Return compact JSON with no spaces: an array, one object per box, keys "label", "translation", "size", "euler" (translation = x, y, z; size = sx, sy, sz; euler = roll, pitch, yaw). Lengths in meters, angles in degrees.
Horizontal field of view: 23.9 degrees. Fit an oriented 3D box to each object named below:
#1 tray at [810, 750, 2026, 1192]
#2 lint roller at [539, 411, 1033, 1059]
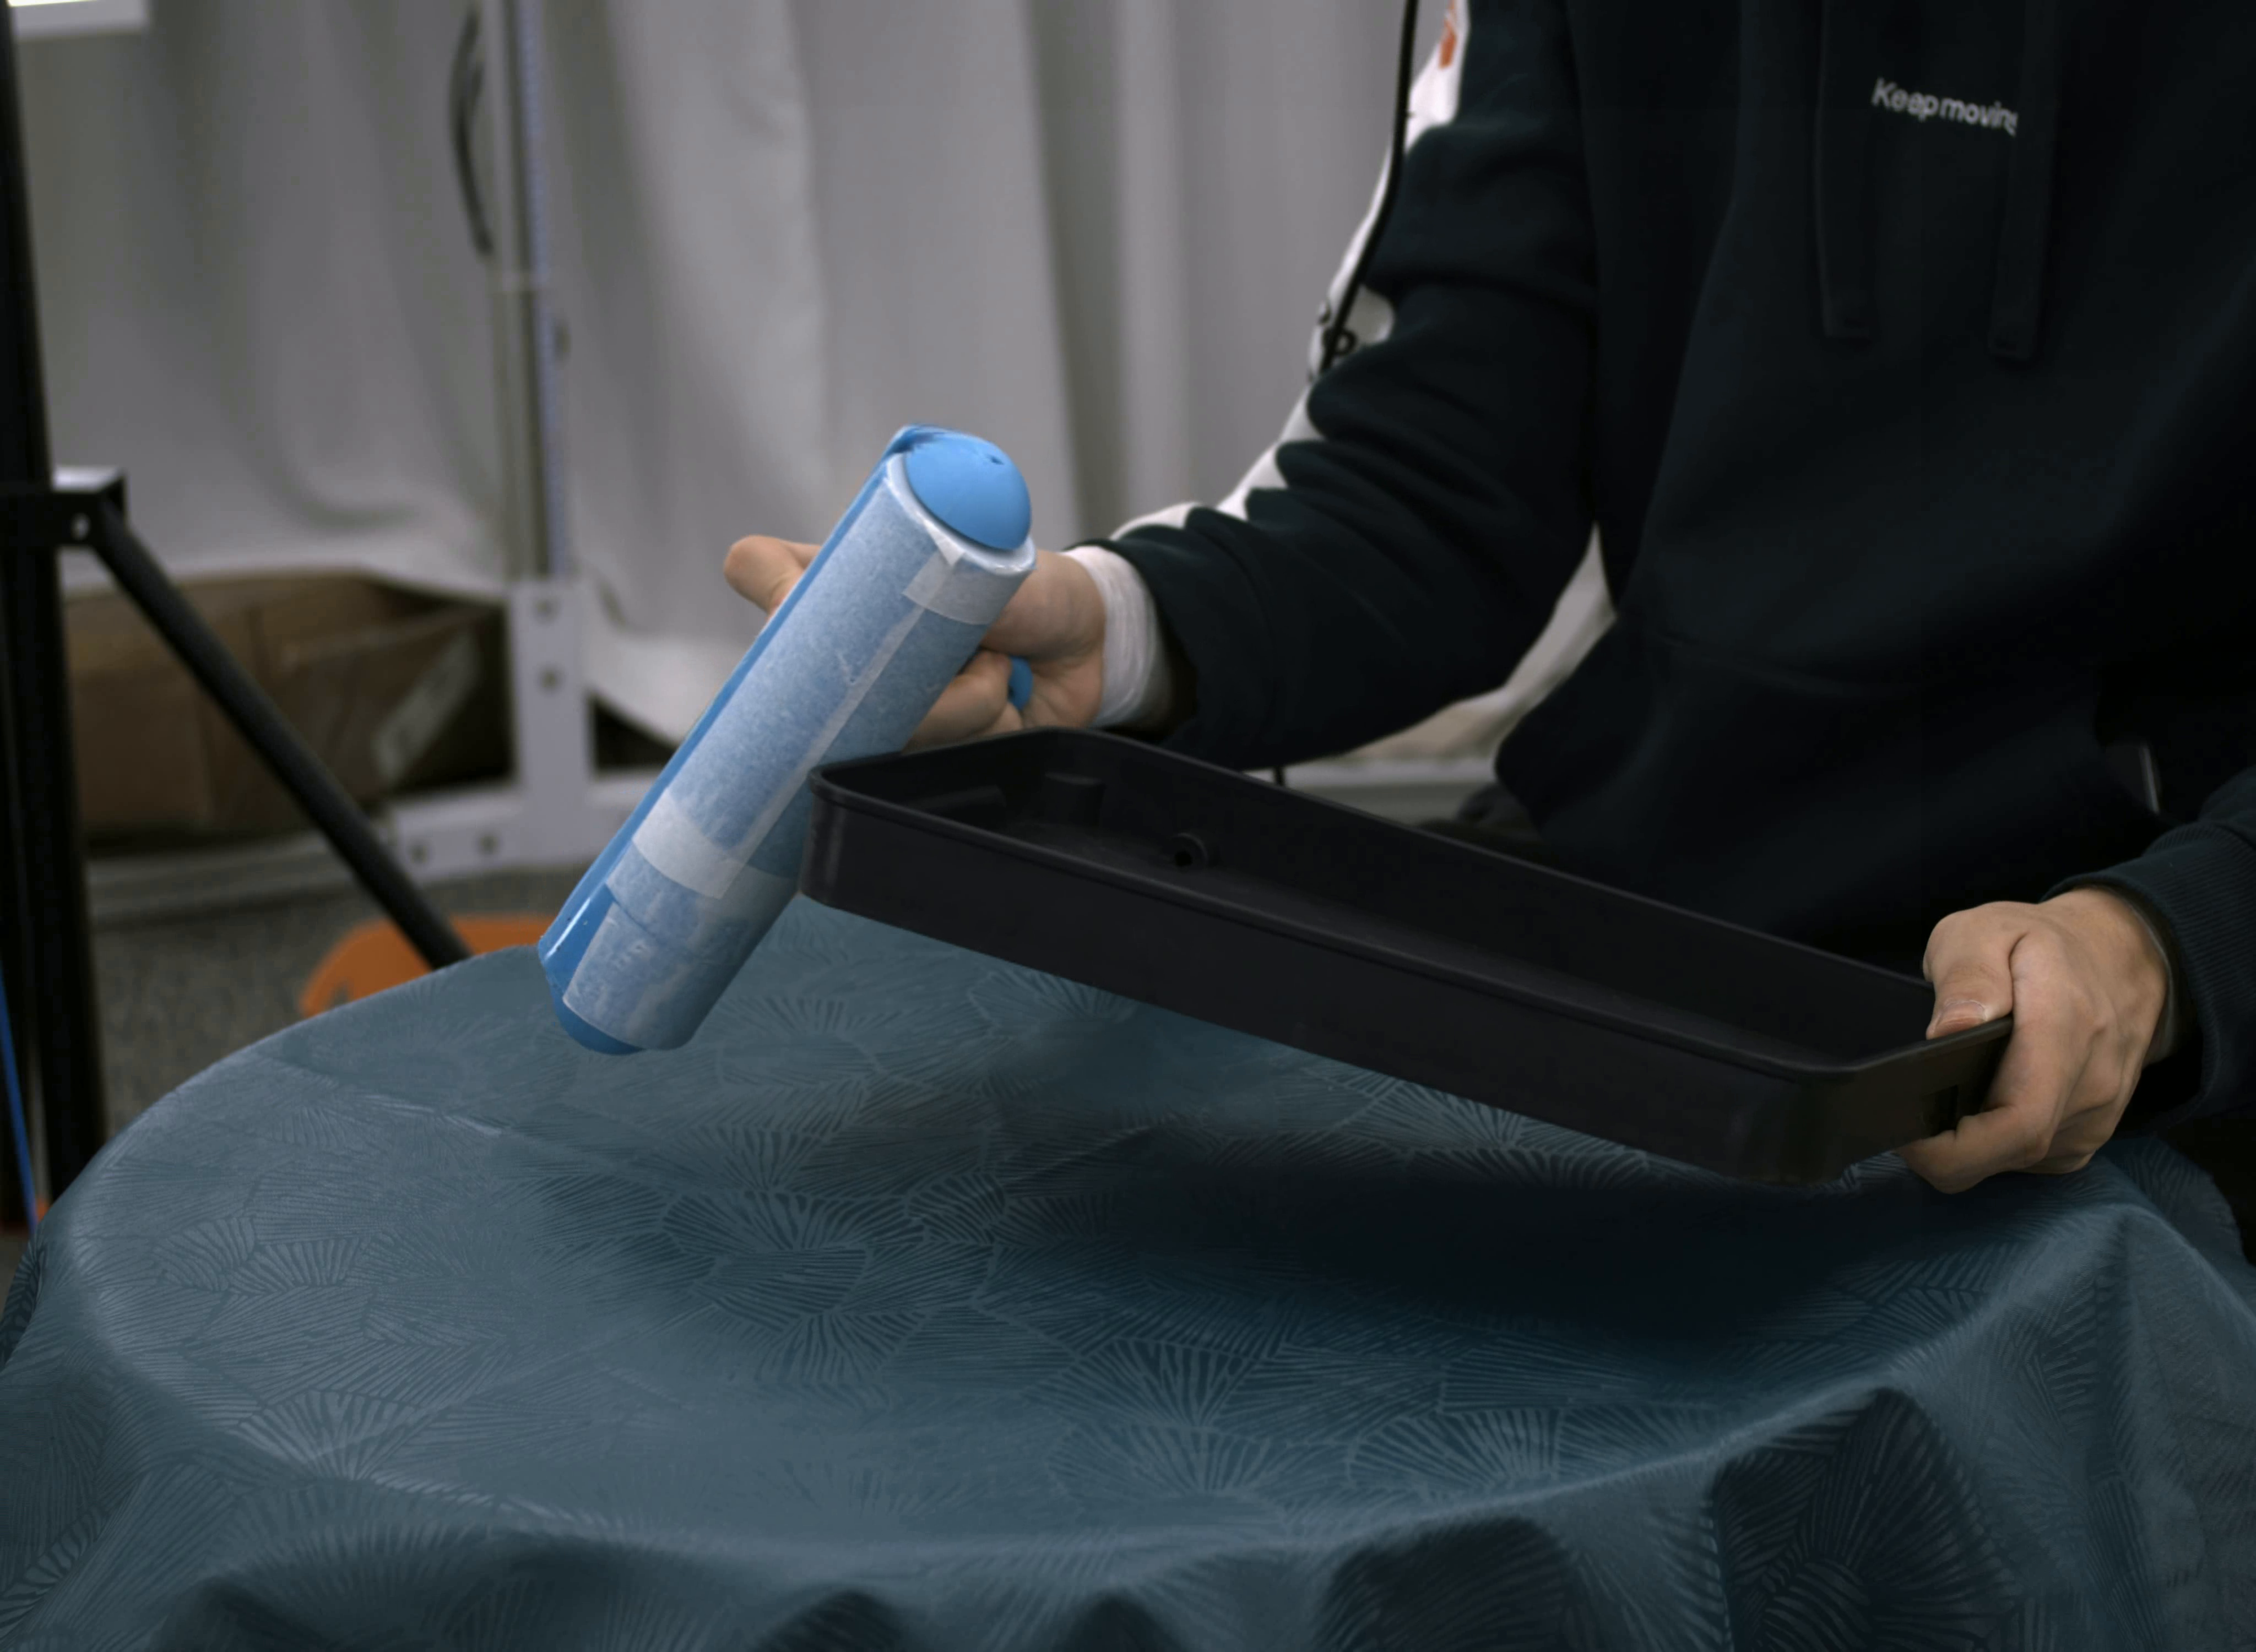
[{"label":"tray","translation":[0.082,0.037,1.498],"size":[0.323,0.037,0.181],"euler":[15,10,24]},{"label":"lint roller","translation":[-0.085,-0.035,1.616],"size":[0.068,0.230,0.178],"euler":[38,20,6]}]
